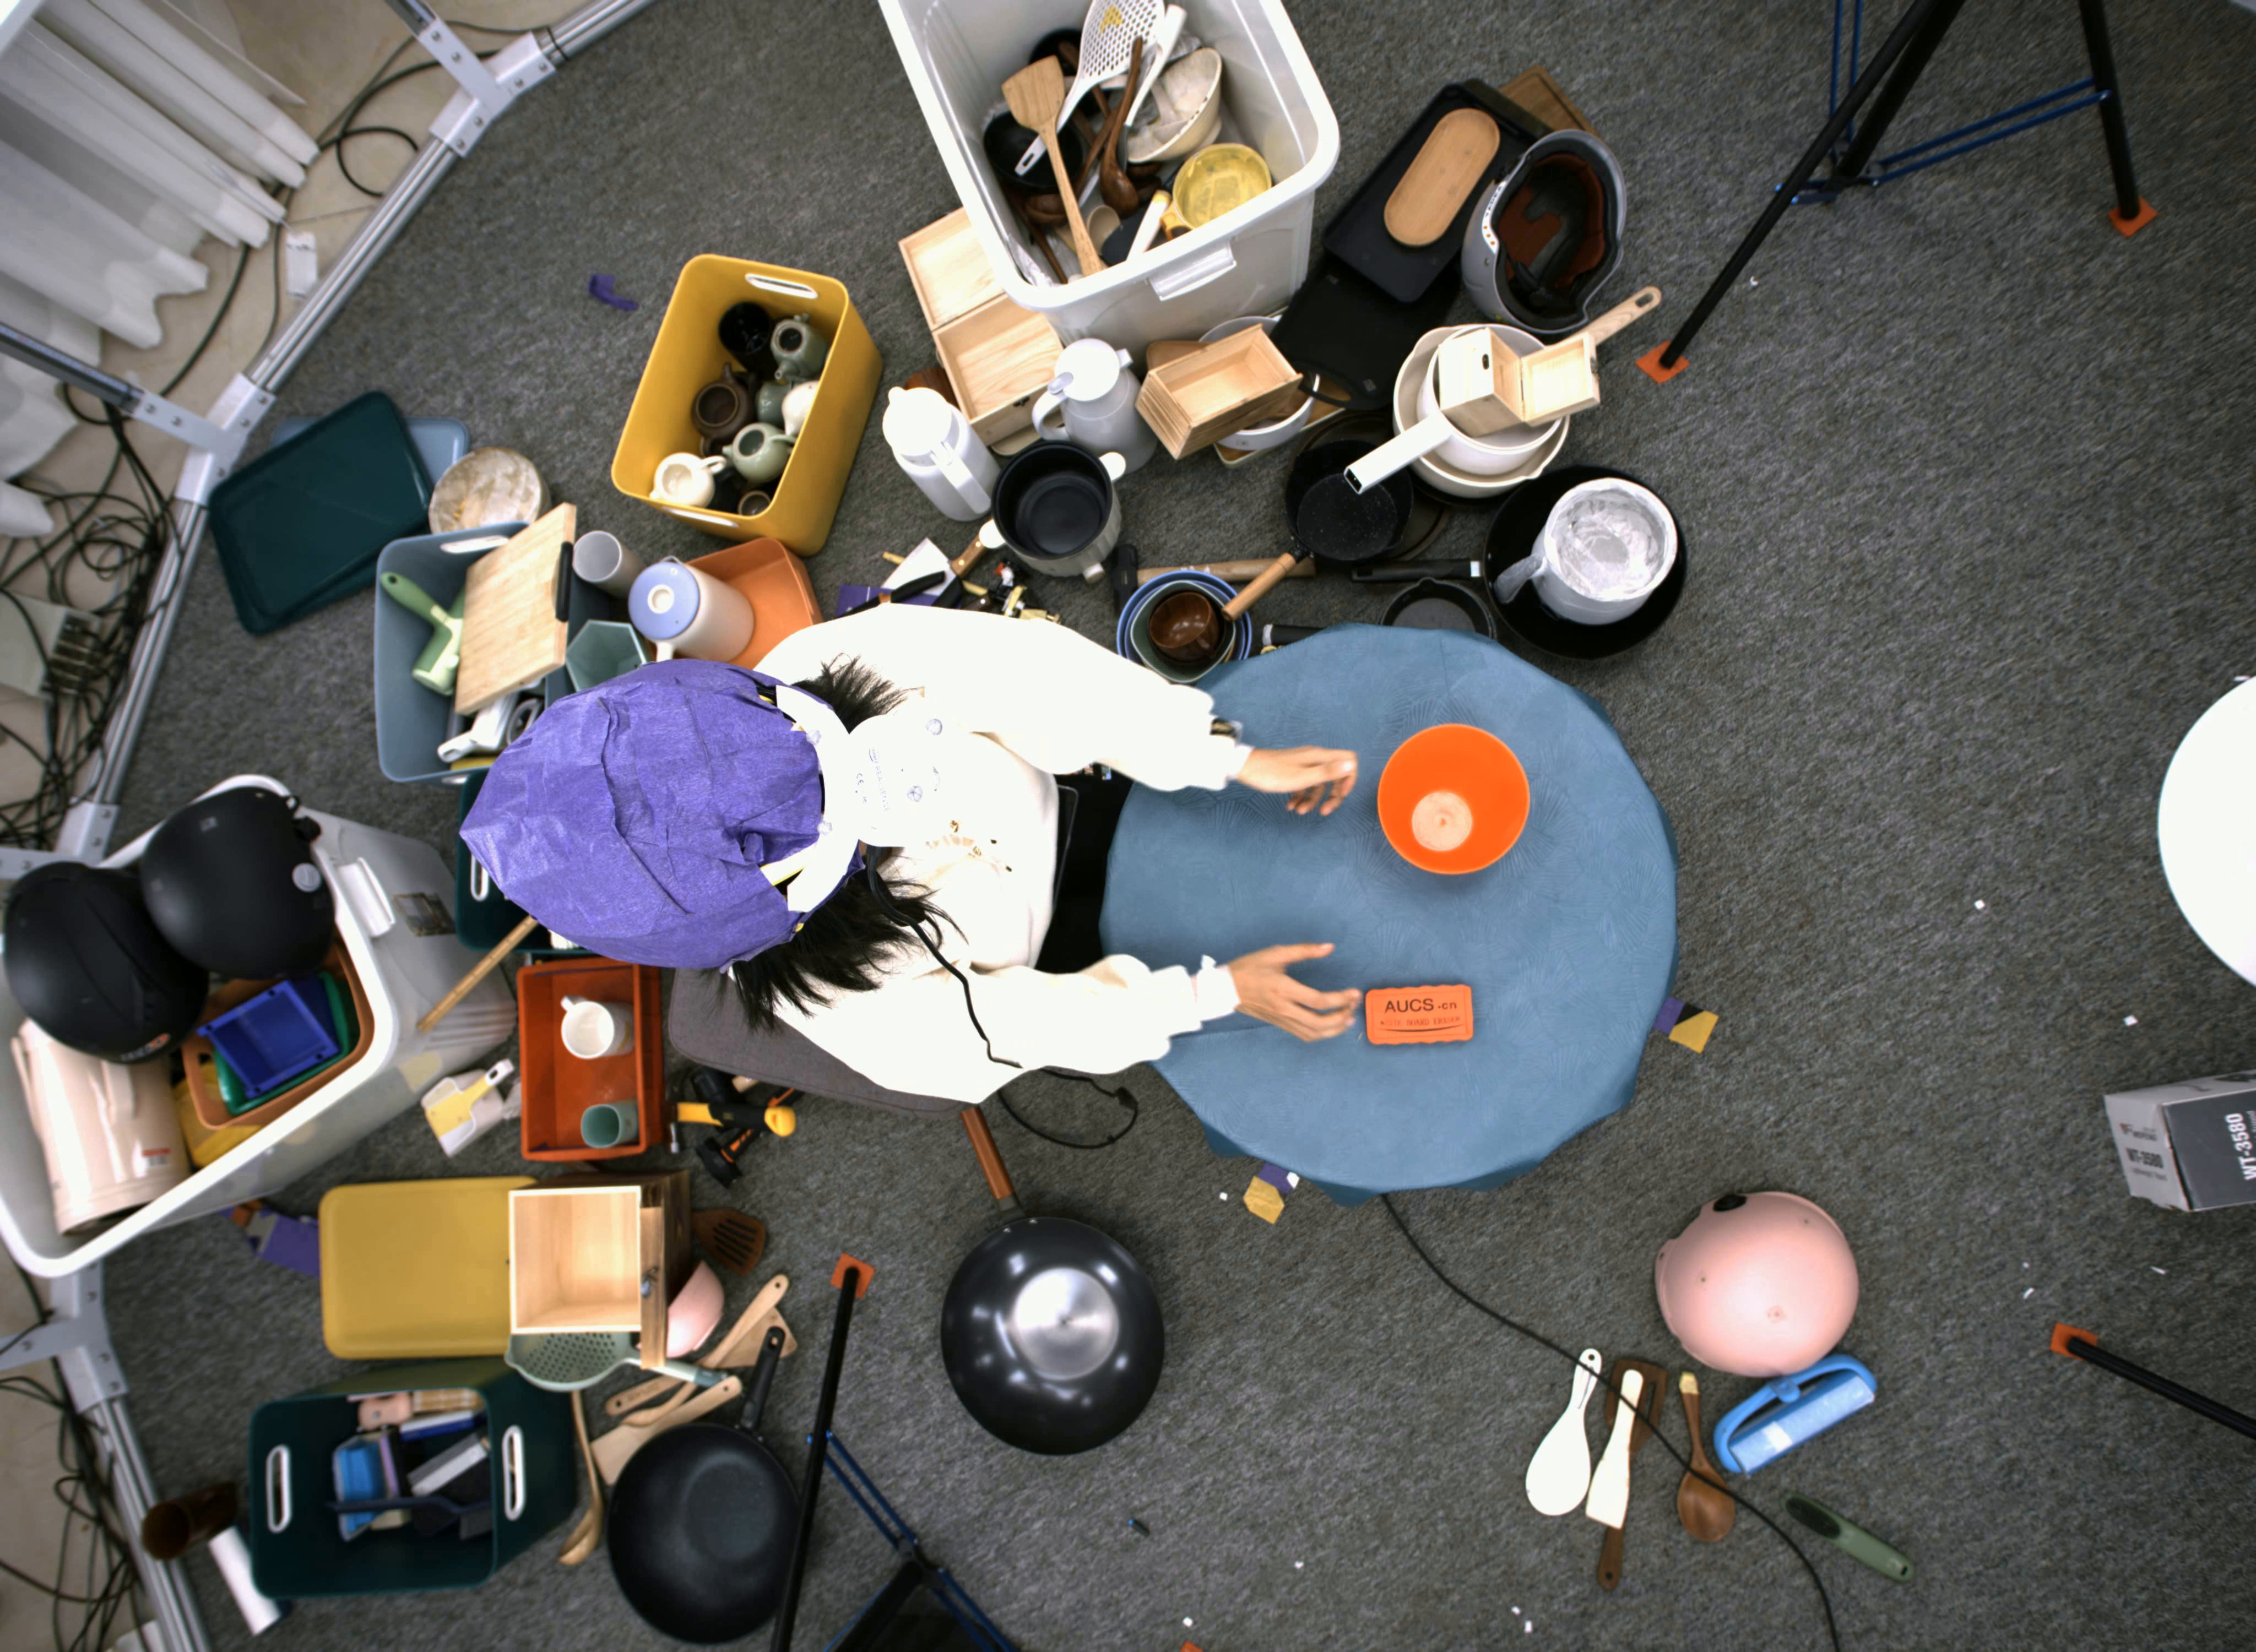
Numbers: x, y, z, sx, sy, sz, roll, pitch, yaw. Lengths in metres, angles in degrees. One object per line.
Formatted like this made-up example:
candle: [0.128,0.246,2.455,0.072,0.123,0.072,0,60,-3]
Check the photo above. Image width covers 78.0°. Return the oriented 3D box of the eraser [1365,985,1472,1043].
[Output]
eraser: [0.302,0.193,1.436,0.108,0.023,0.059,-3,88,10]

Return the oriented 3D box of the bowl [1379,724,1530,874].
bowl: [0.328,-0.022,1.402,0.148,0.105,0.147,-1,84,8]
